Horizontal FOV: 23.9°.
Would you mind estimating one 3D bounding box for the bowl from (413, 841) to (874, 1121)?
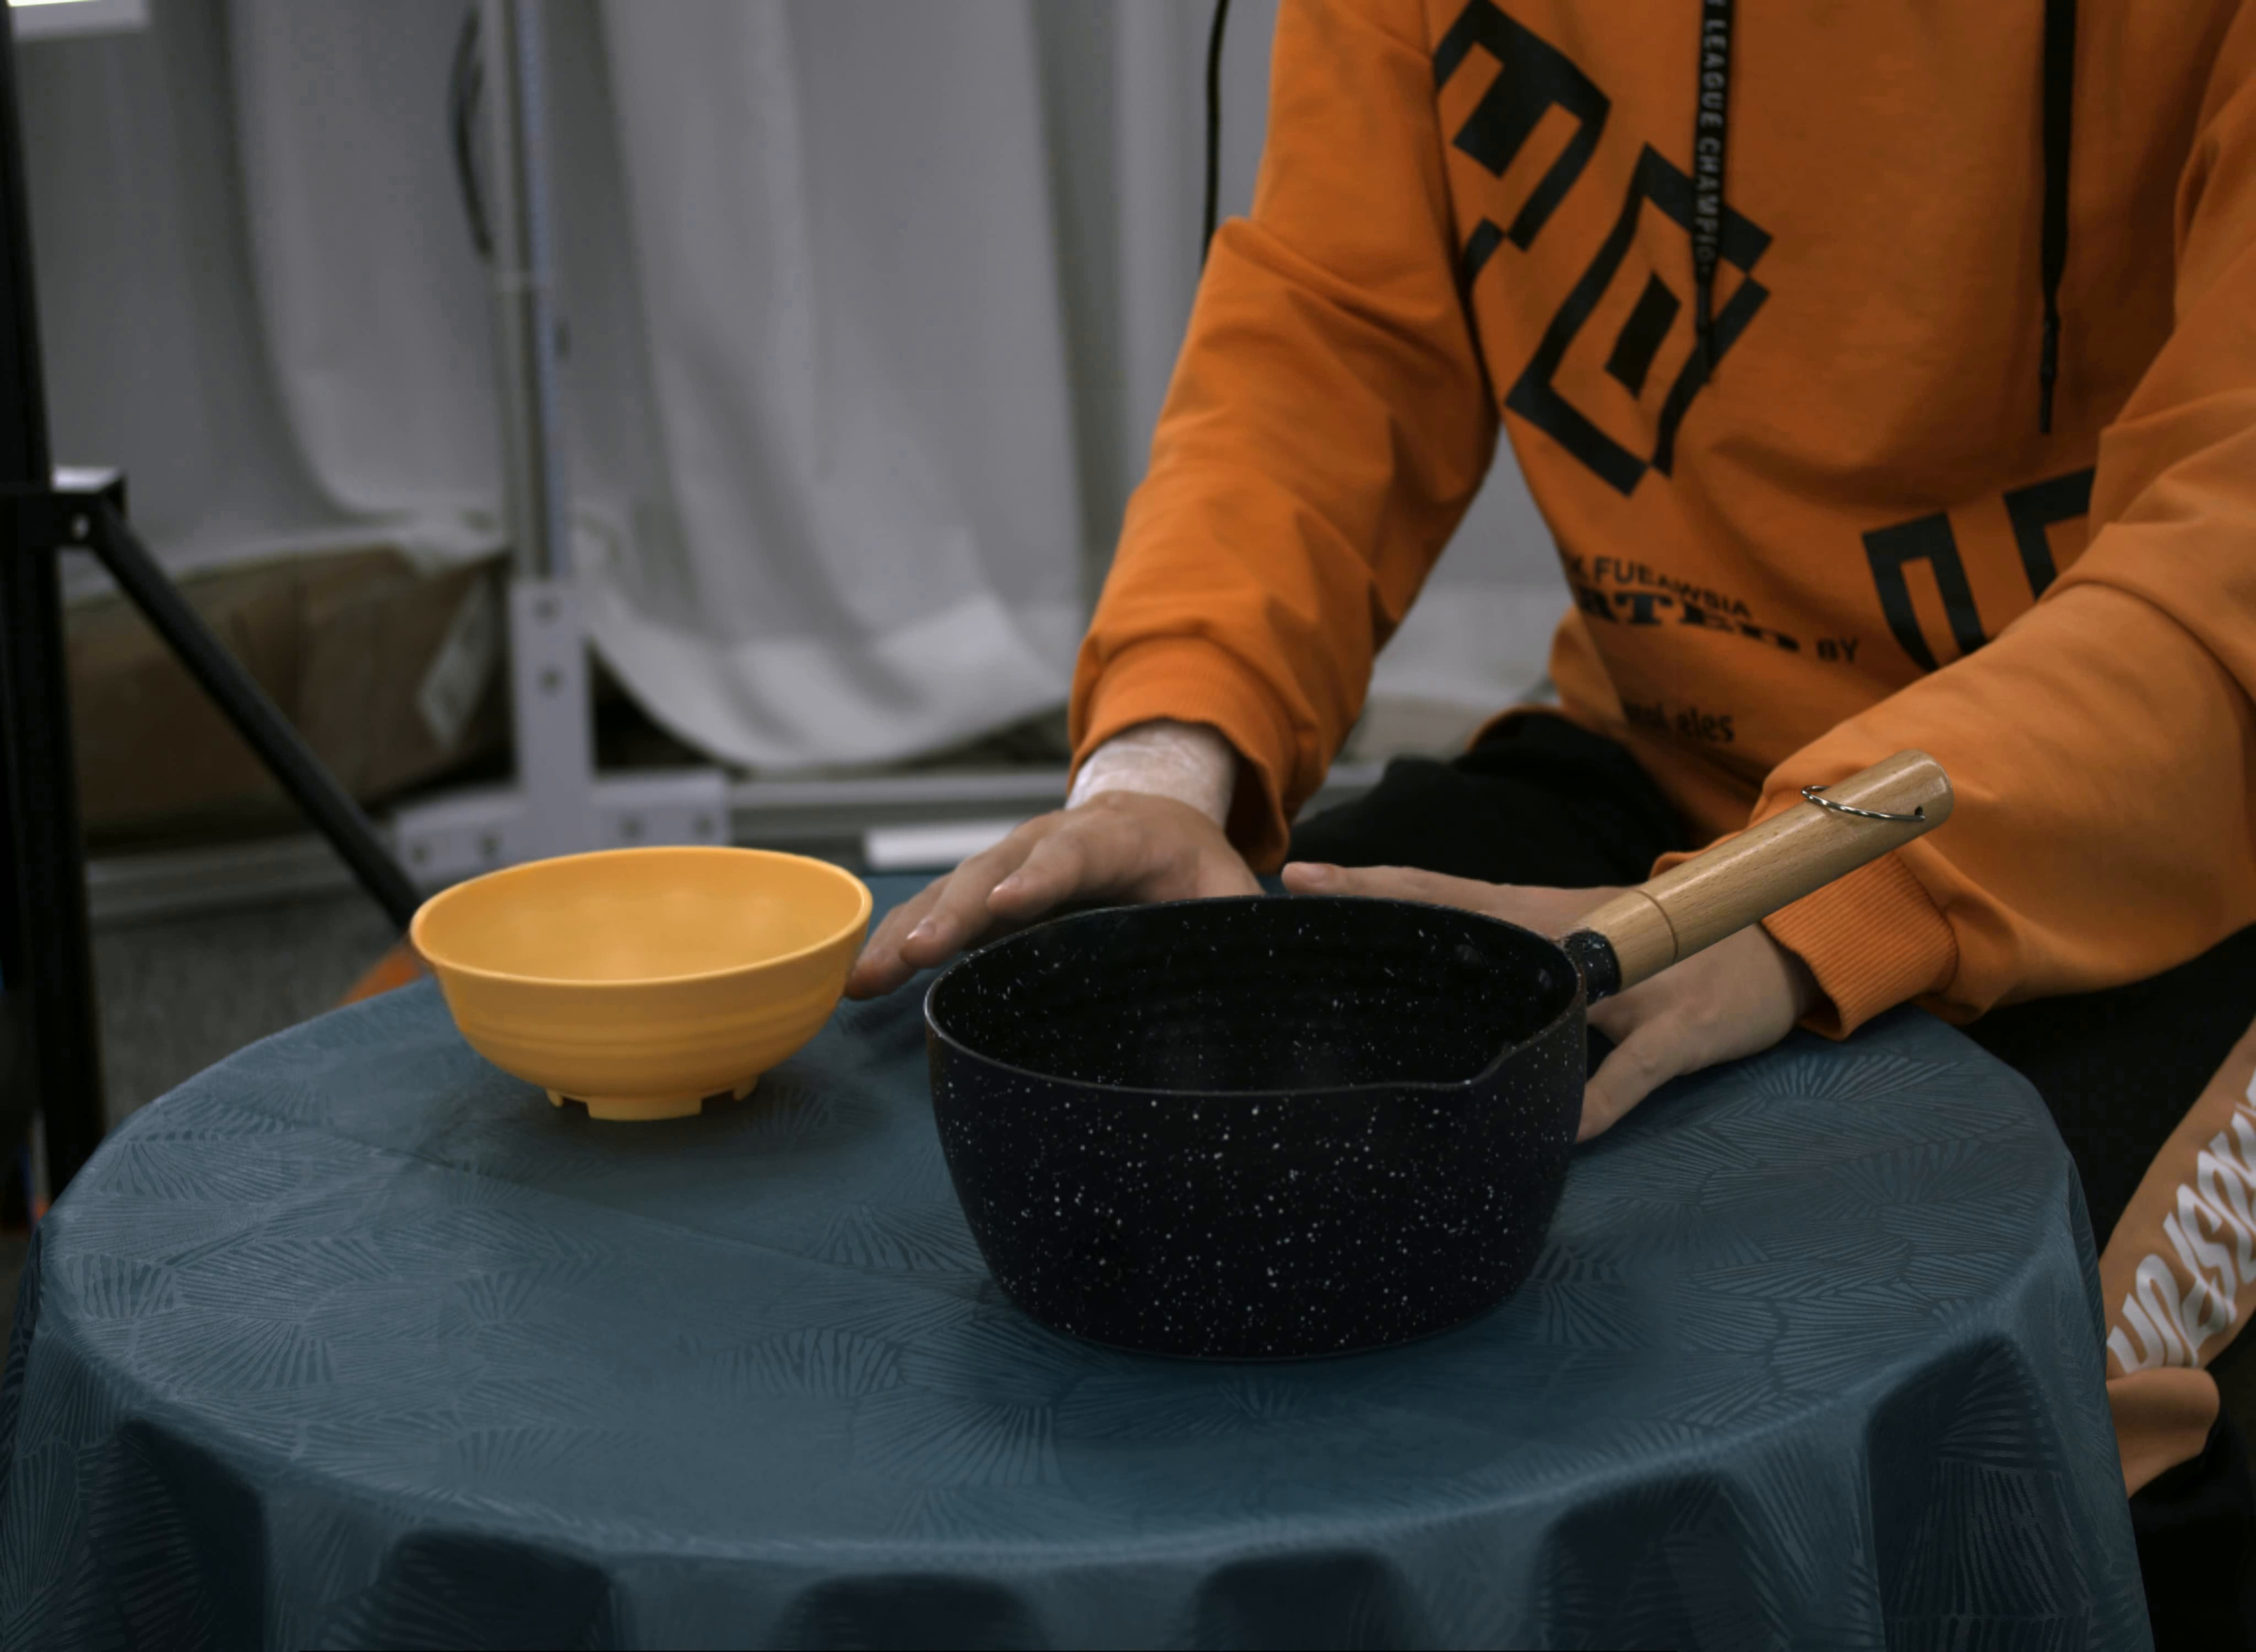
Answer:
[{"bbox_3d":[-0.151,0.054,1.669,0.144,0.060,0.146,-2,16,-1],"label":"bowl"}]

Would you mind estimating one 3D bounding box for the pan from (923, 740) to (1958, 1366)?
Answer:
[{"bbox_3d":[0.102,0.060,1.515,0.335,0.108,0.212,-14,18,-30],"label":"pan"}]
